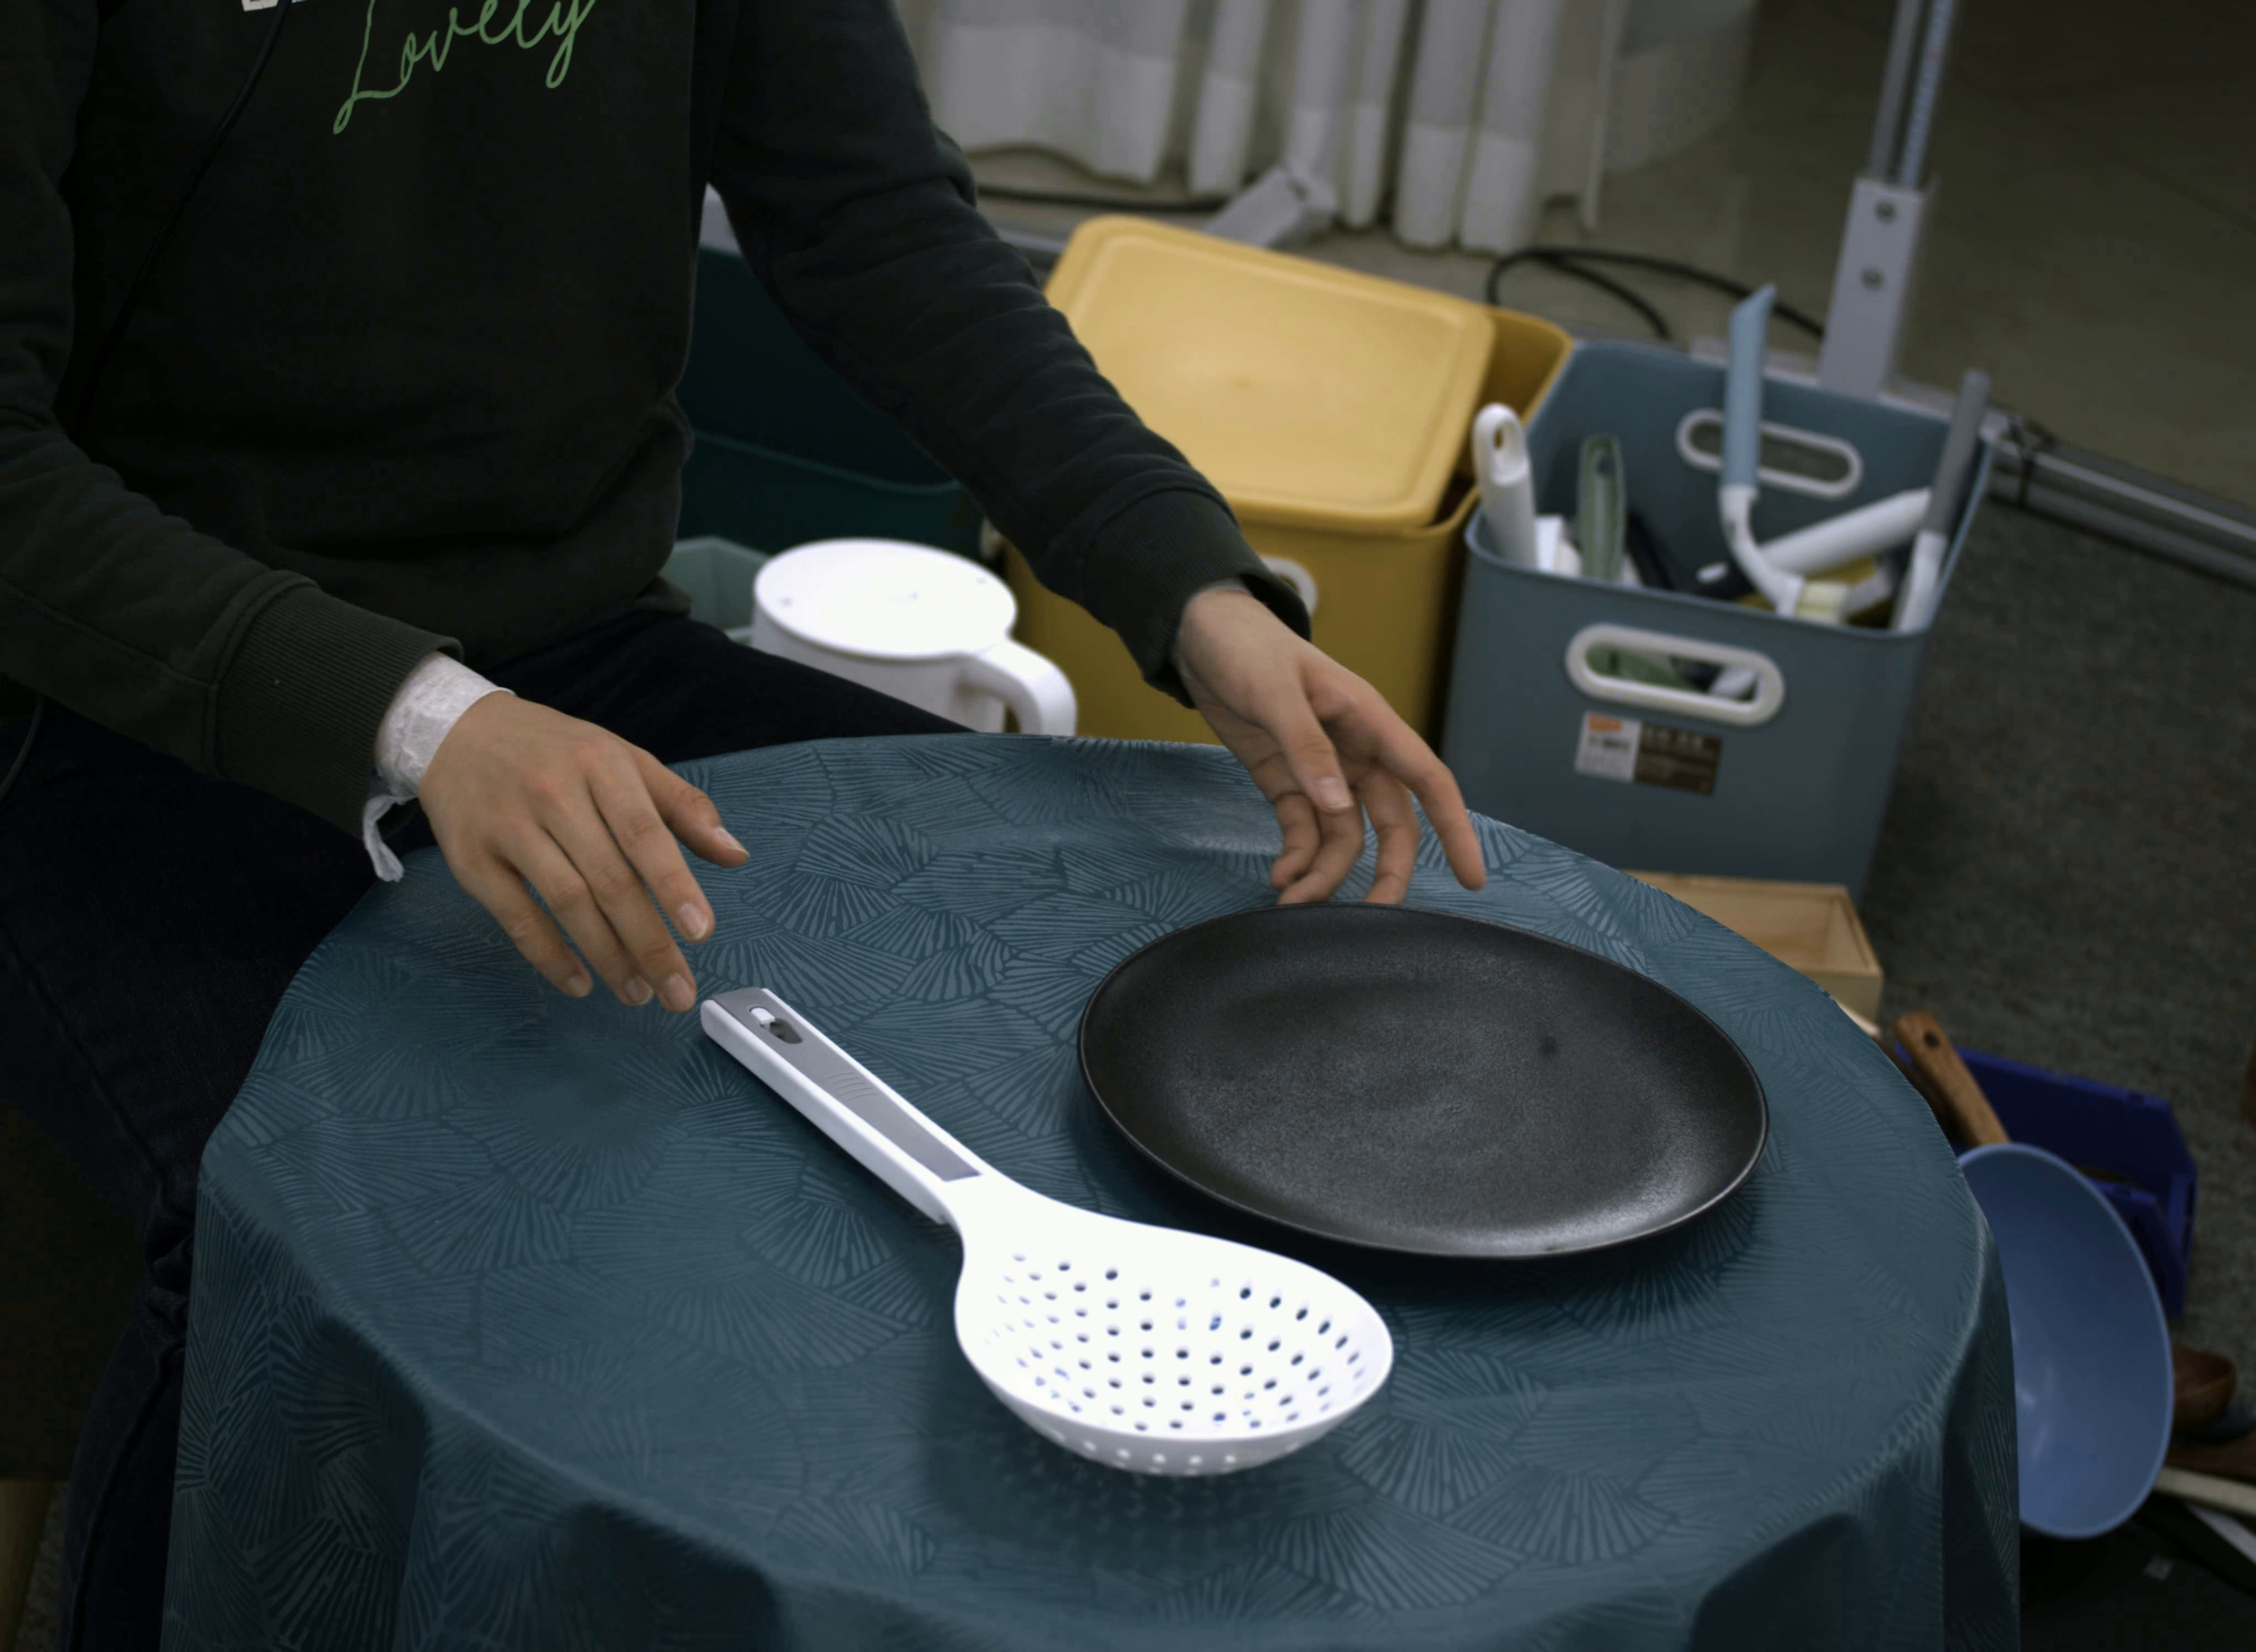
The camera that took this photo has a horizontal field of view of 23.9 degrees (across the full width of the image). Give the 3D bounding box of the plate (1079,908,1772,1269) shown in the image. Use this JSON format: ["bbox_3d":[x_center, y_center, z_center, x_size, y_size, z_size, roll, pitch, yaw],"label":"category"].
[{"bbox_3d":[0.103,0.095,1.855,0.243,0.023,0.246,5,27,-3],"label":"plate"}]

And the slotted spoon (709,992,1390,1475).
[{"bbox_3d":[-0.045,0.126,1.734,0.135,0.045,0.353,-9,29,-31],"label":"slotted spoon"}]
